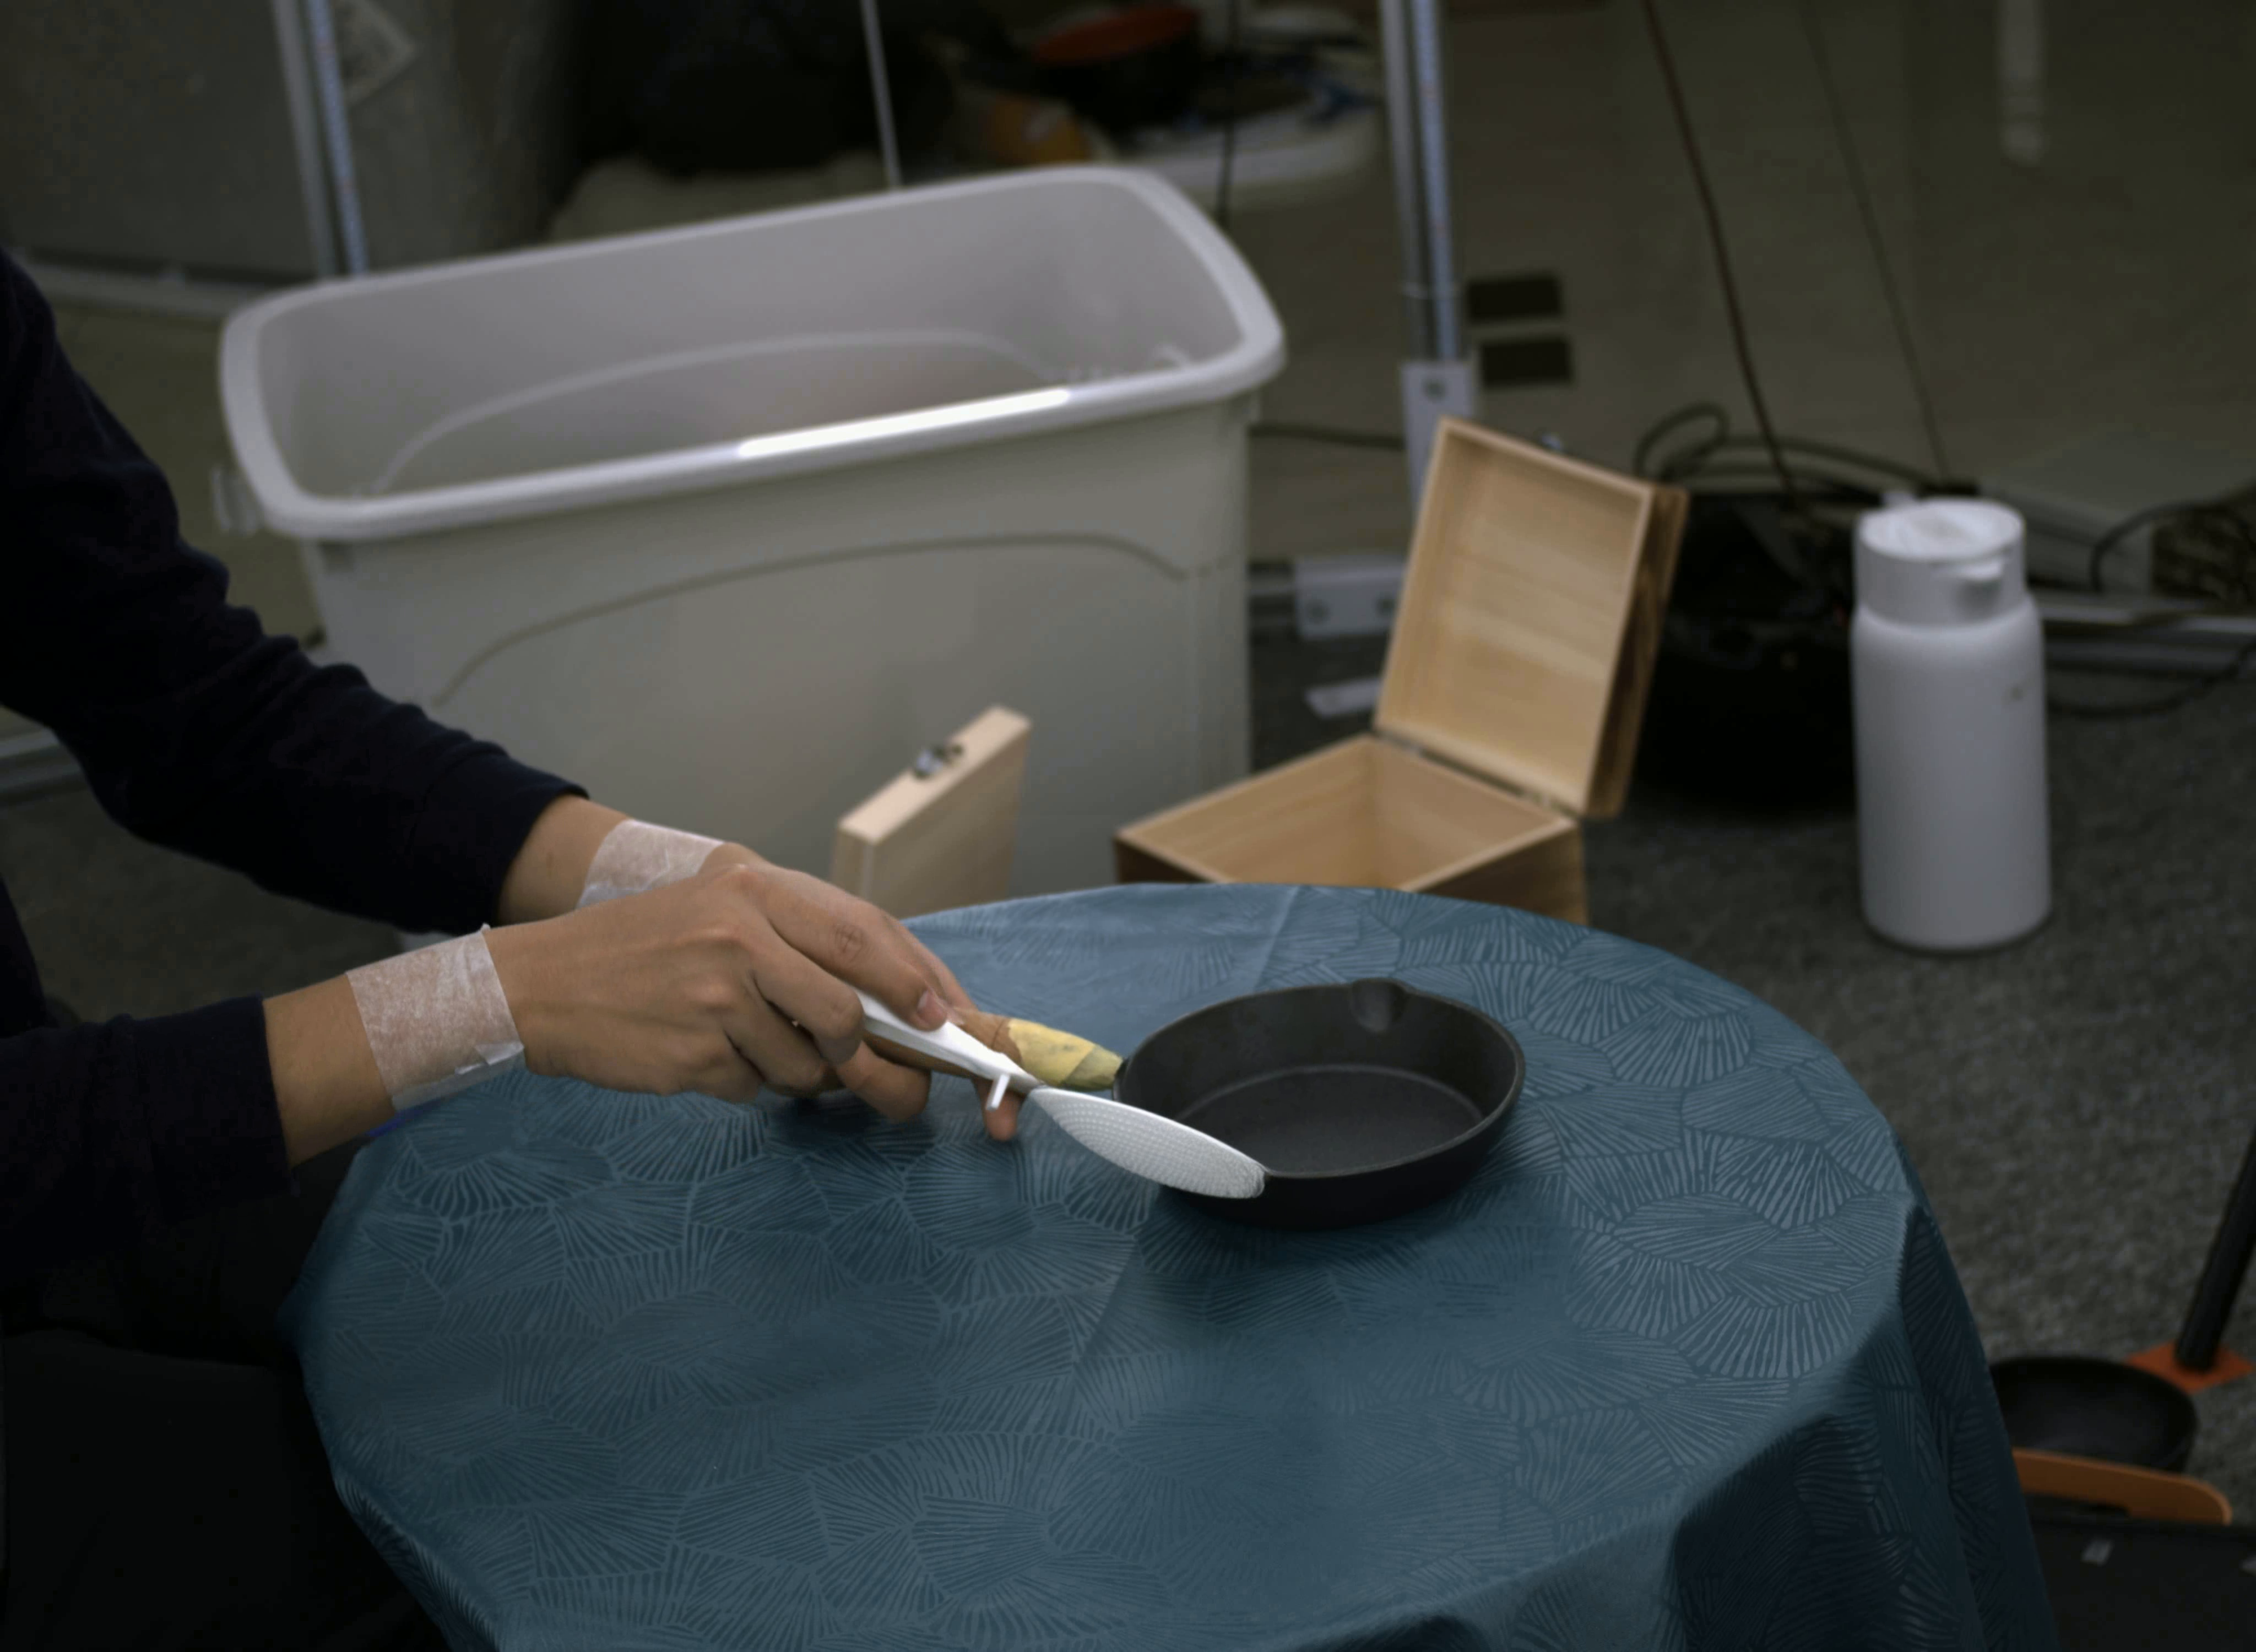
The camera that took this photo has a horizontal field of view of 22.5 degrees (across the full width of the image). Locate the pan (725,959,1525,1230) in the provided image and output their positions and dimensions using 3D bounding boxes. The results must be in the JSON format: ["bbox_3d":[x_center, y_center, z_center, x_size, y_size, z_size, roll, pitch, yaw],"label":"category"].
[{"bbox_3d":[-0.005,0.093,2.179,0.323,0.050,0.166,7,28,22],"label":"pan"}]

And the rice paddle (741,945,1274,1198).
[{"bbox_3d":[-0.040,0.093,2.044,0.205,0.029,0.069,22,-13,-11],"label":"rice paddle"}]
